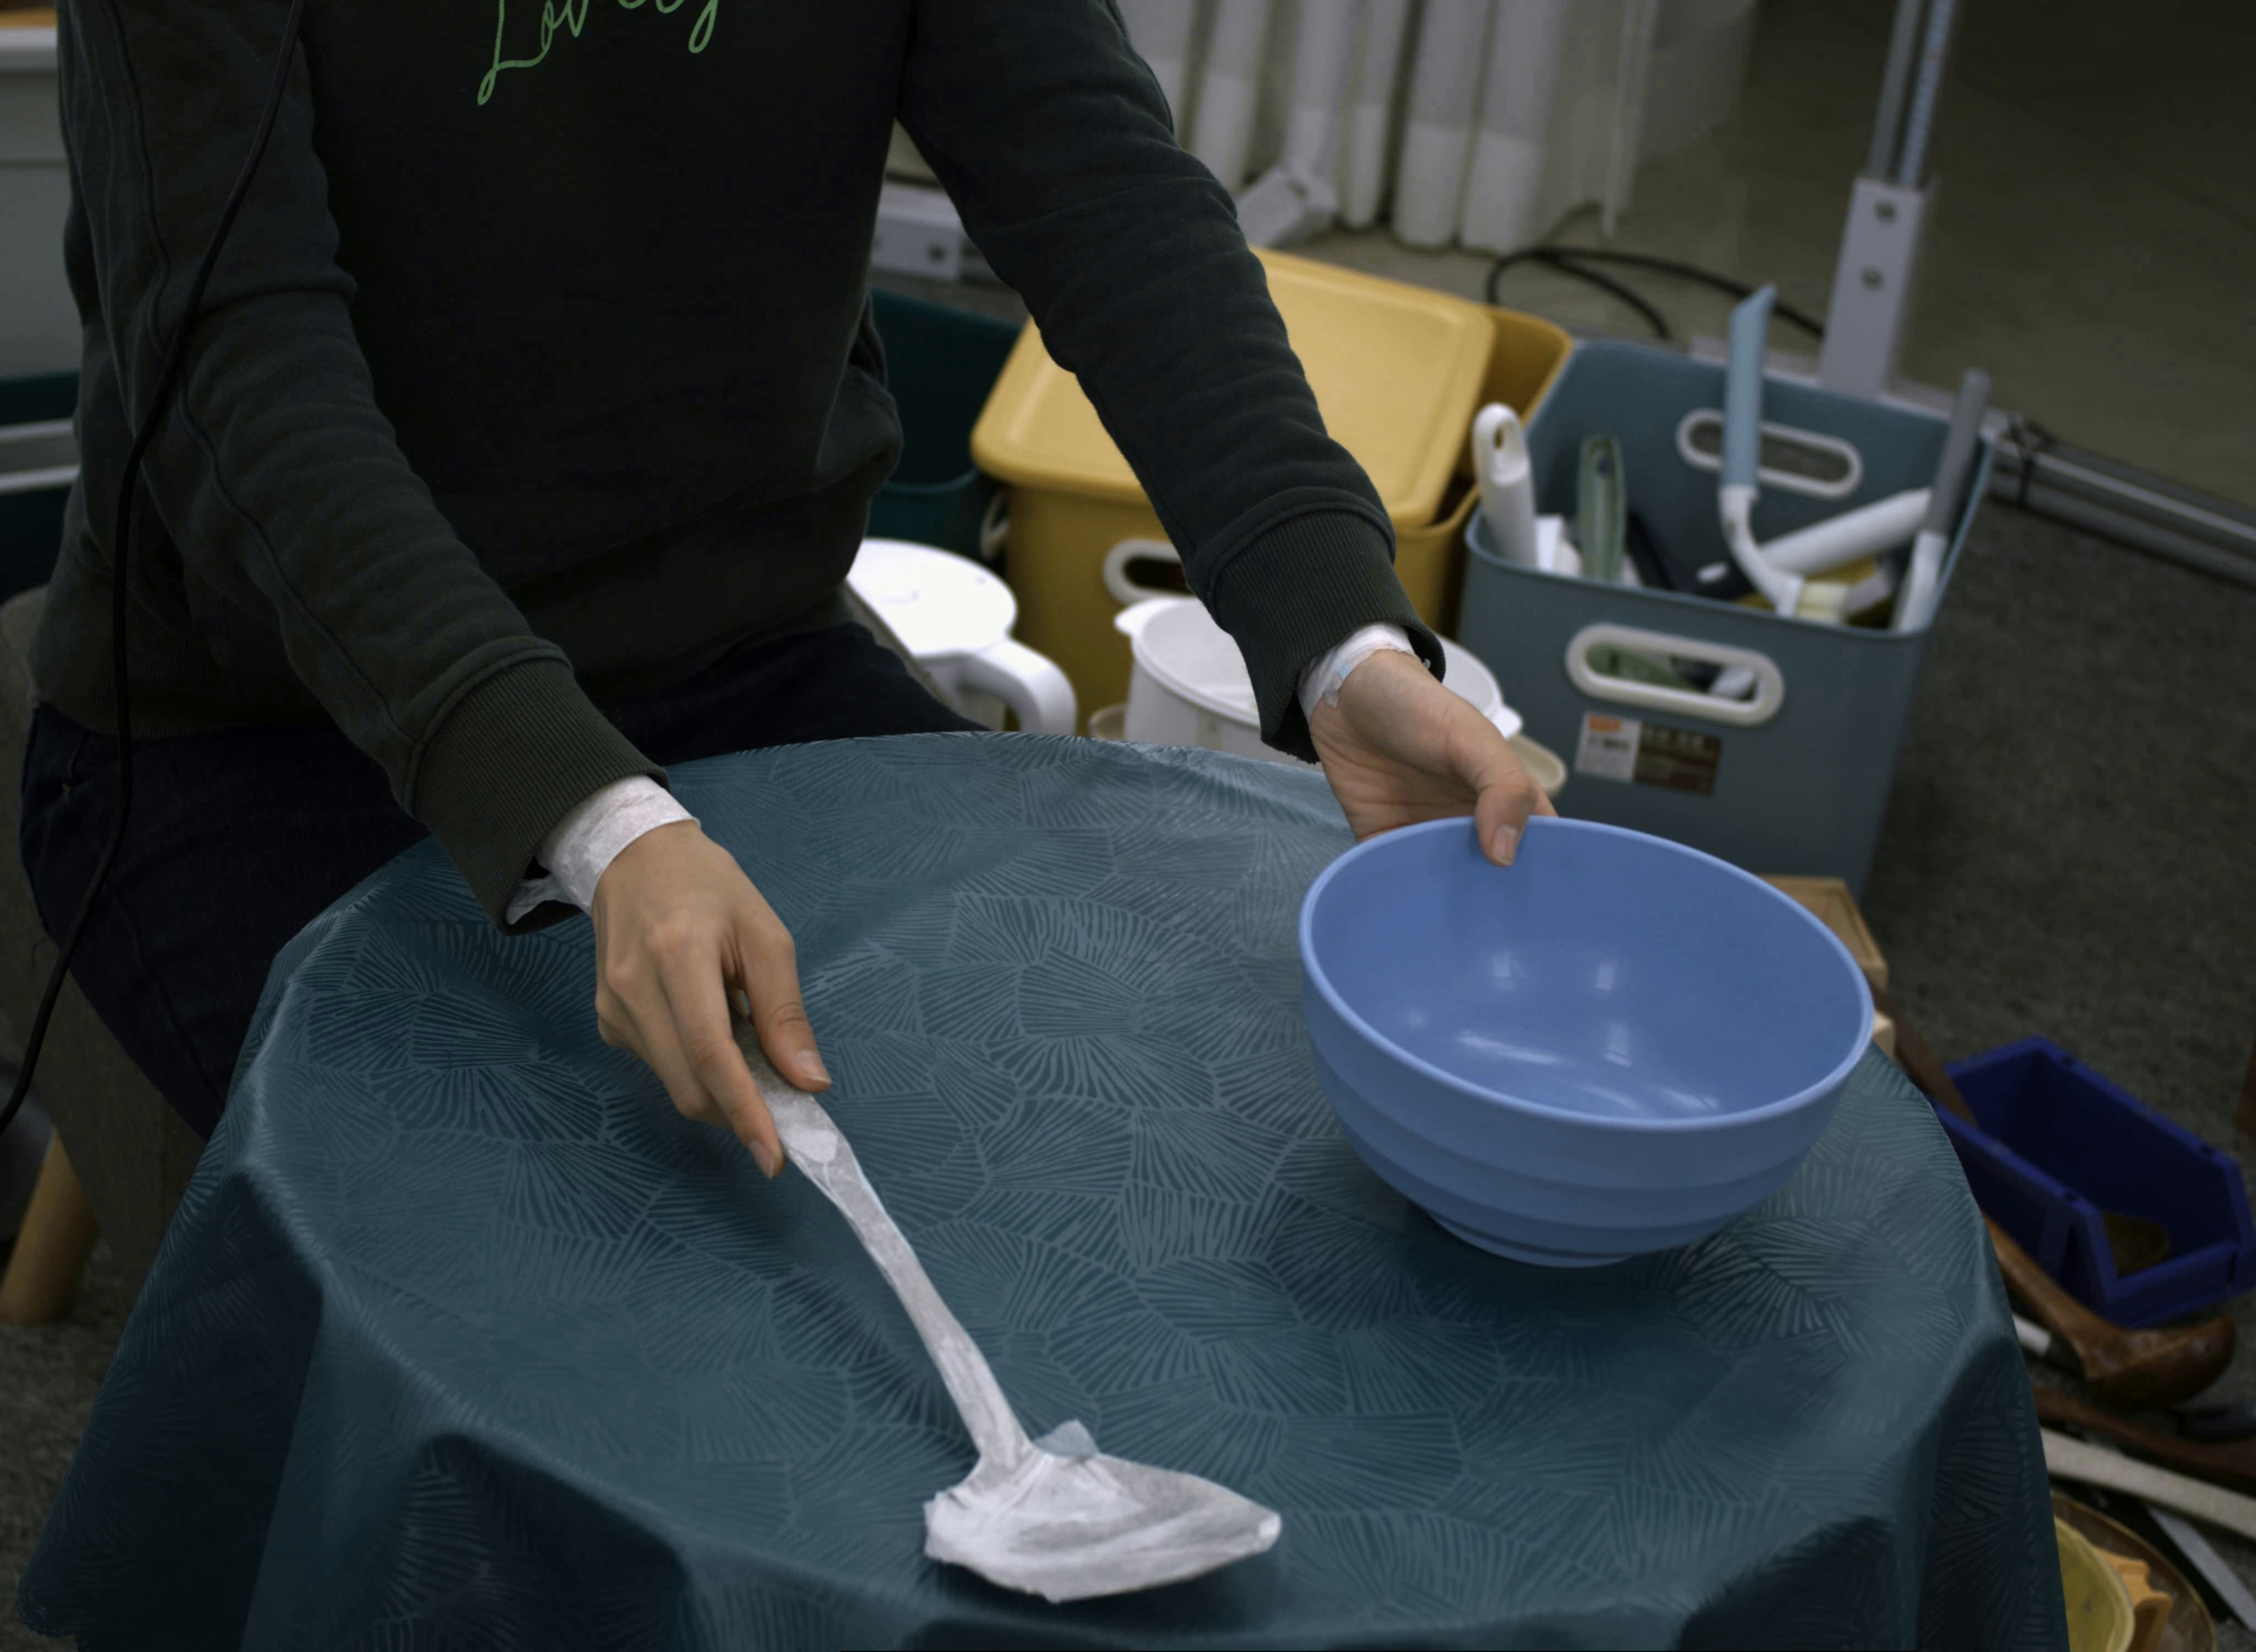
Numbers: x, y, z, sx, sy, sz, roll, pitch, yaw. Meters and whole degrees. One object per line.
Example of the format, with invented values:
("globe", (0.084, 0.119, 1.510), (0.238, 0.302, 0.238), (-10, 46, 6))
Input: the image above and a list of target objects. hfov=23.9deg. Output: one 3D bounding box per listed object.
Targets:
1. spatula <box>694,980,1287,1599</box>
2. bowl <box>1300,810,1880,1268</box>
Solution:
("spatula", (-0.068, 0.137, 1.690), (0.098, 0.044, 0.368), (-11, 38, -24))
("bowl", (0.148, 0.085, 1.800), (0.196, 0.095, 0.198), (7, 30, -4))
